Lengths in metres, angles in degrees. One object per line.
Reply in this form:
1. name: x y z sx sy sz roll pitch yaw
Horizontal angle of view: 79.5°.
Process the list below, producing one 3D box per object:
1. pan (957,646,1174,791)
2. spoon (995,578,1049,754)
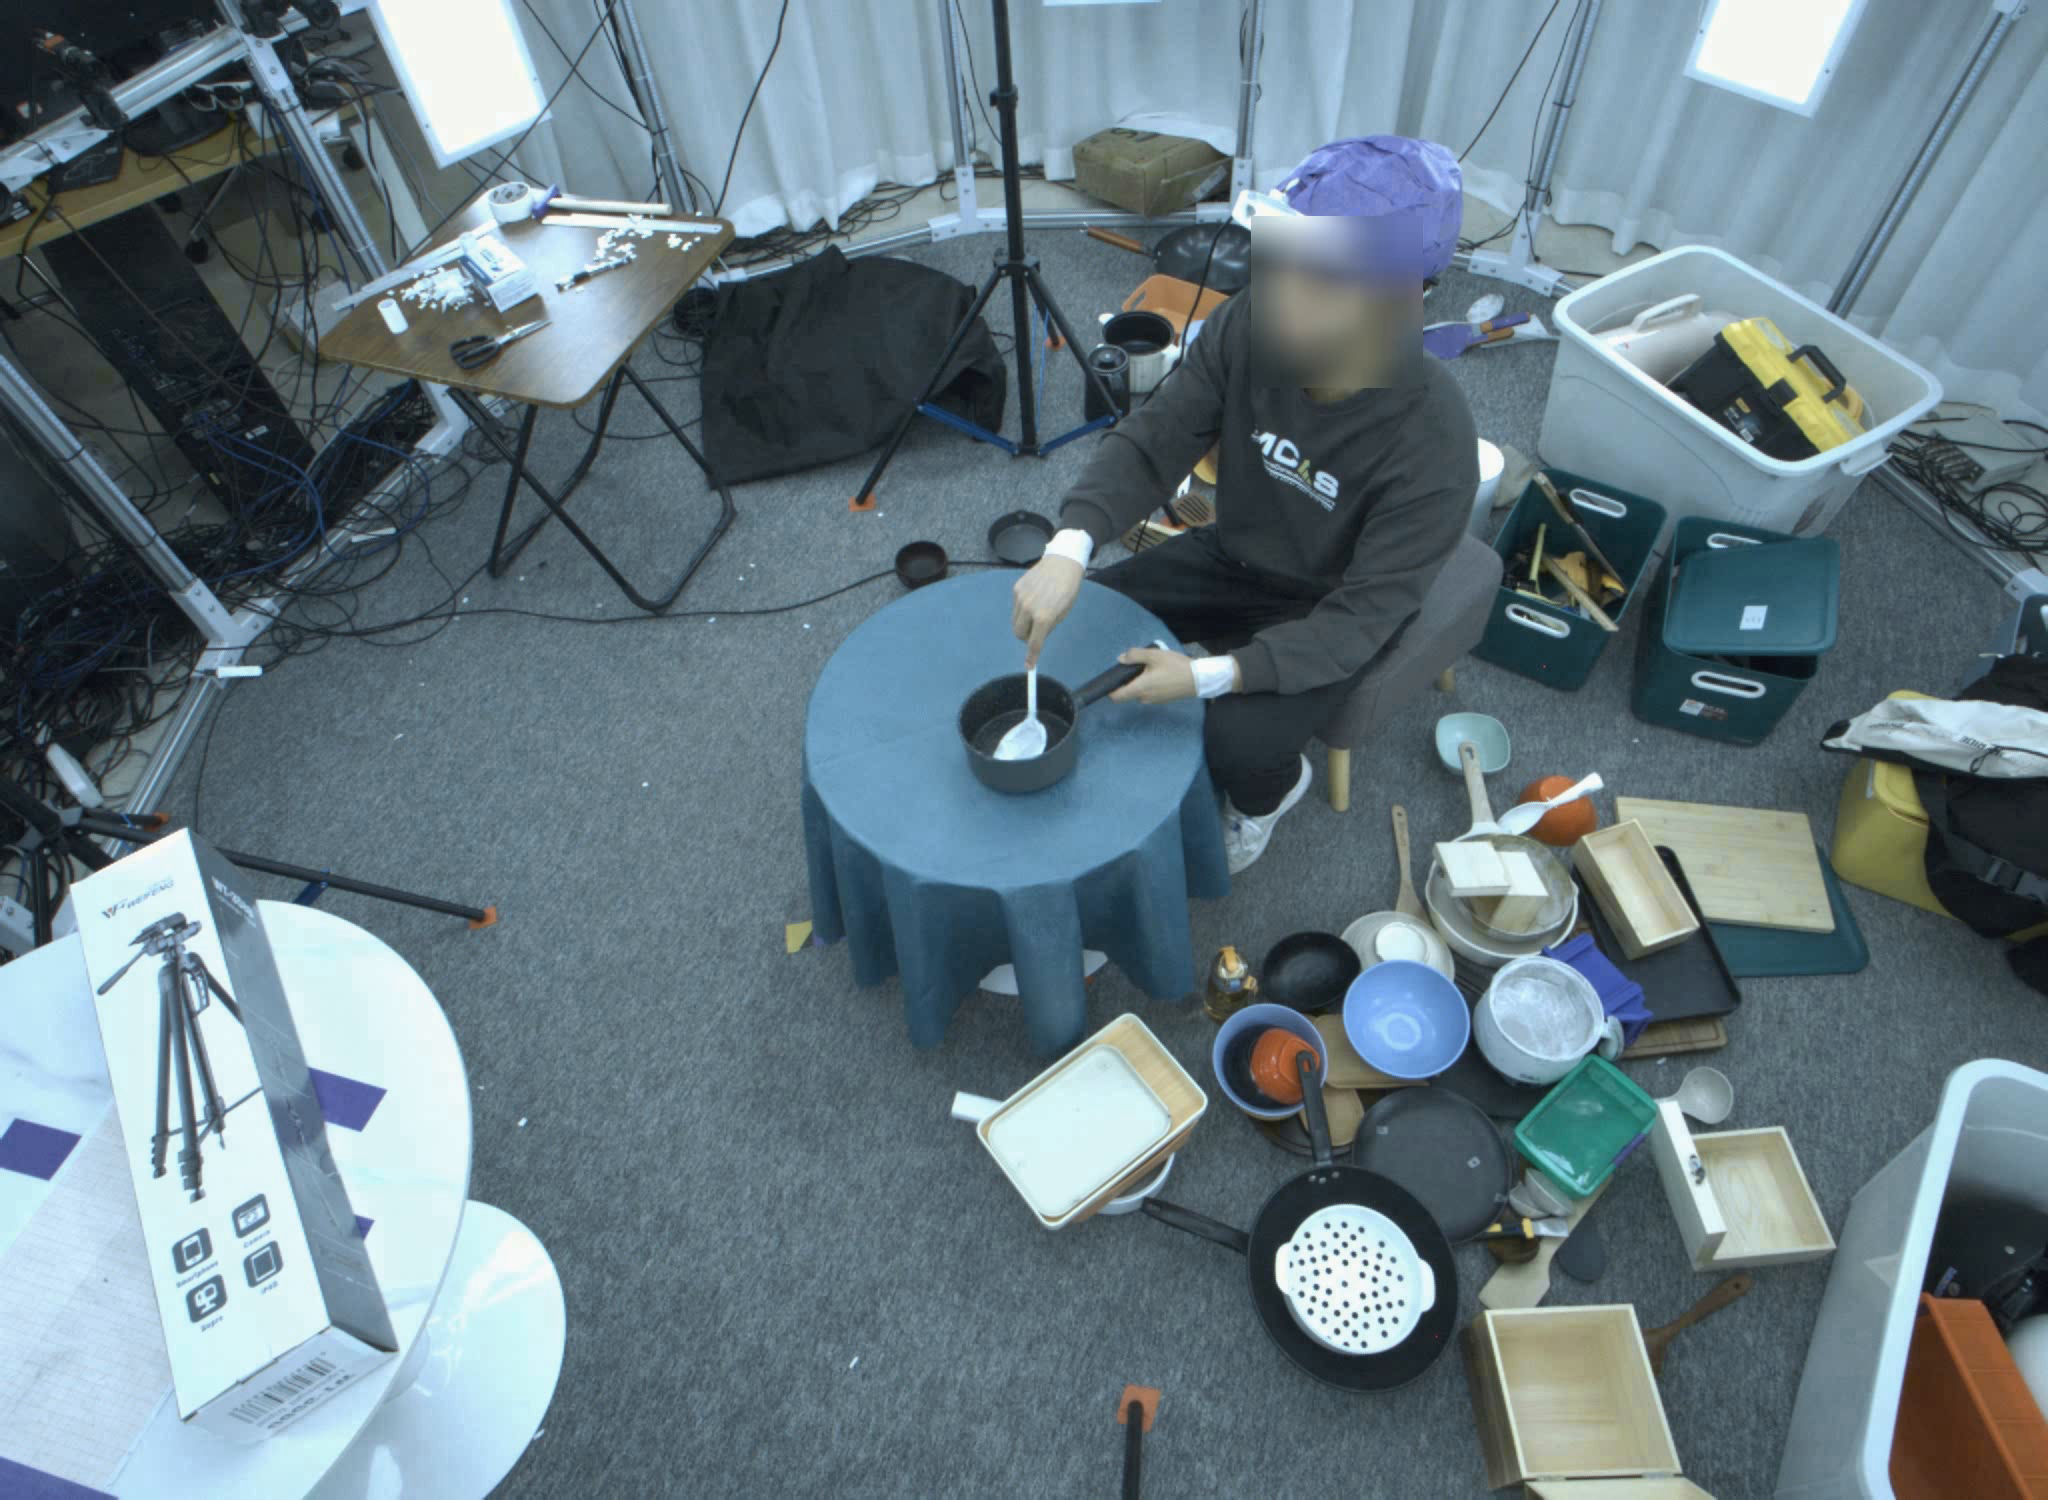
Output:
1. pan: 0.066 -0.057 1.773 0.331 0.087 0.168 -23 52 -12
2. spoon: 0.002 -0.102 1.732 0.098 0.278 0.060 10 12 41
